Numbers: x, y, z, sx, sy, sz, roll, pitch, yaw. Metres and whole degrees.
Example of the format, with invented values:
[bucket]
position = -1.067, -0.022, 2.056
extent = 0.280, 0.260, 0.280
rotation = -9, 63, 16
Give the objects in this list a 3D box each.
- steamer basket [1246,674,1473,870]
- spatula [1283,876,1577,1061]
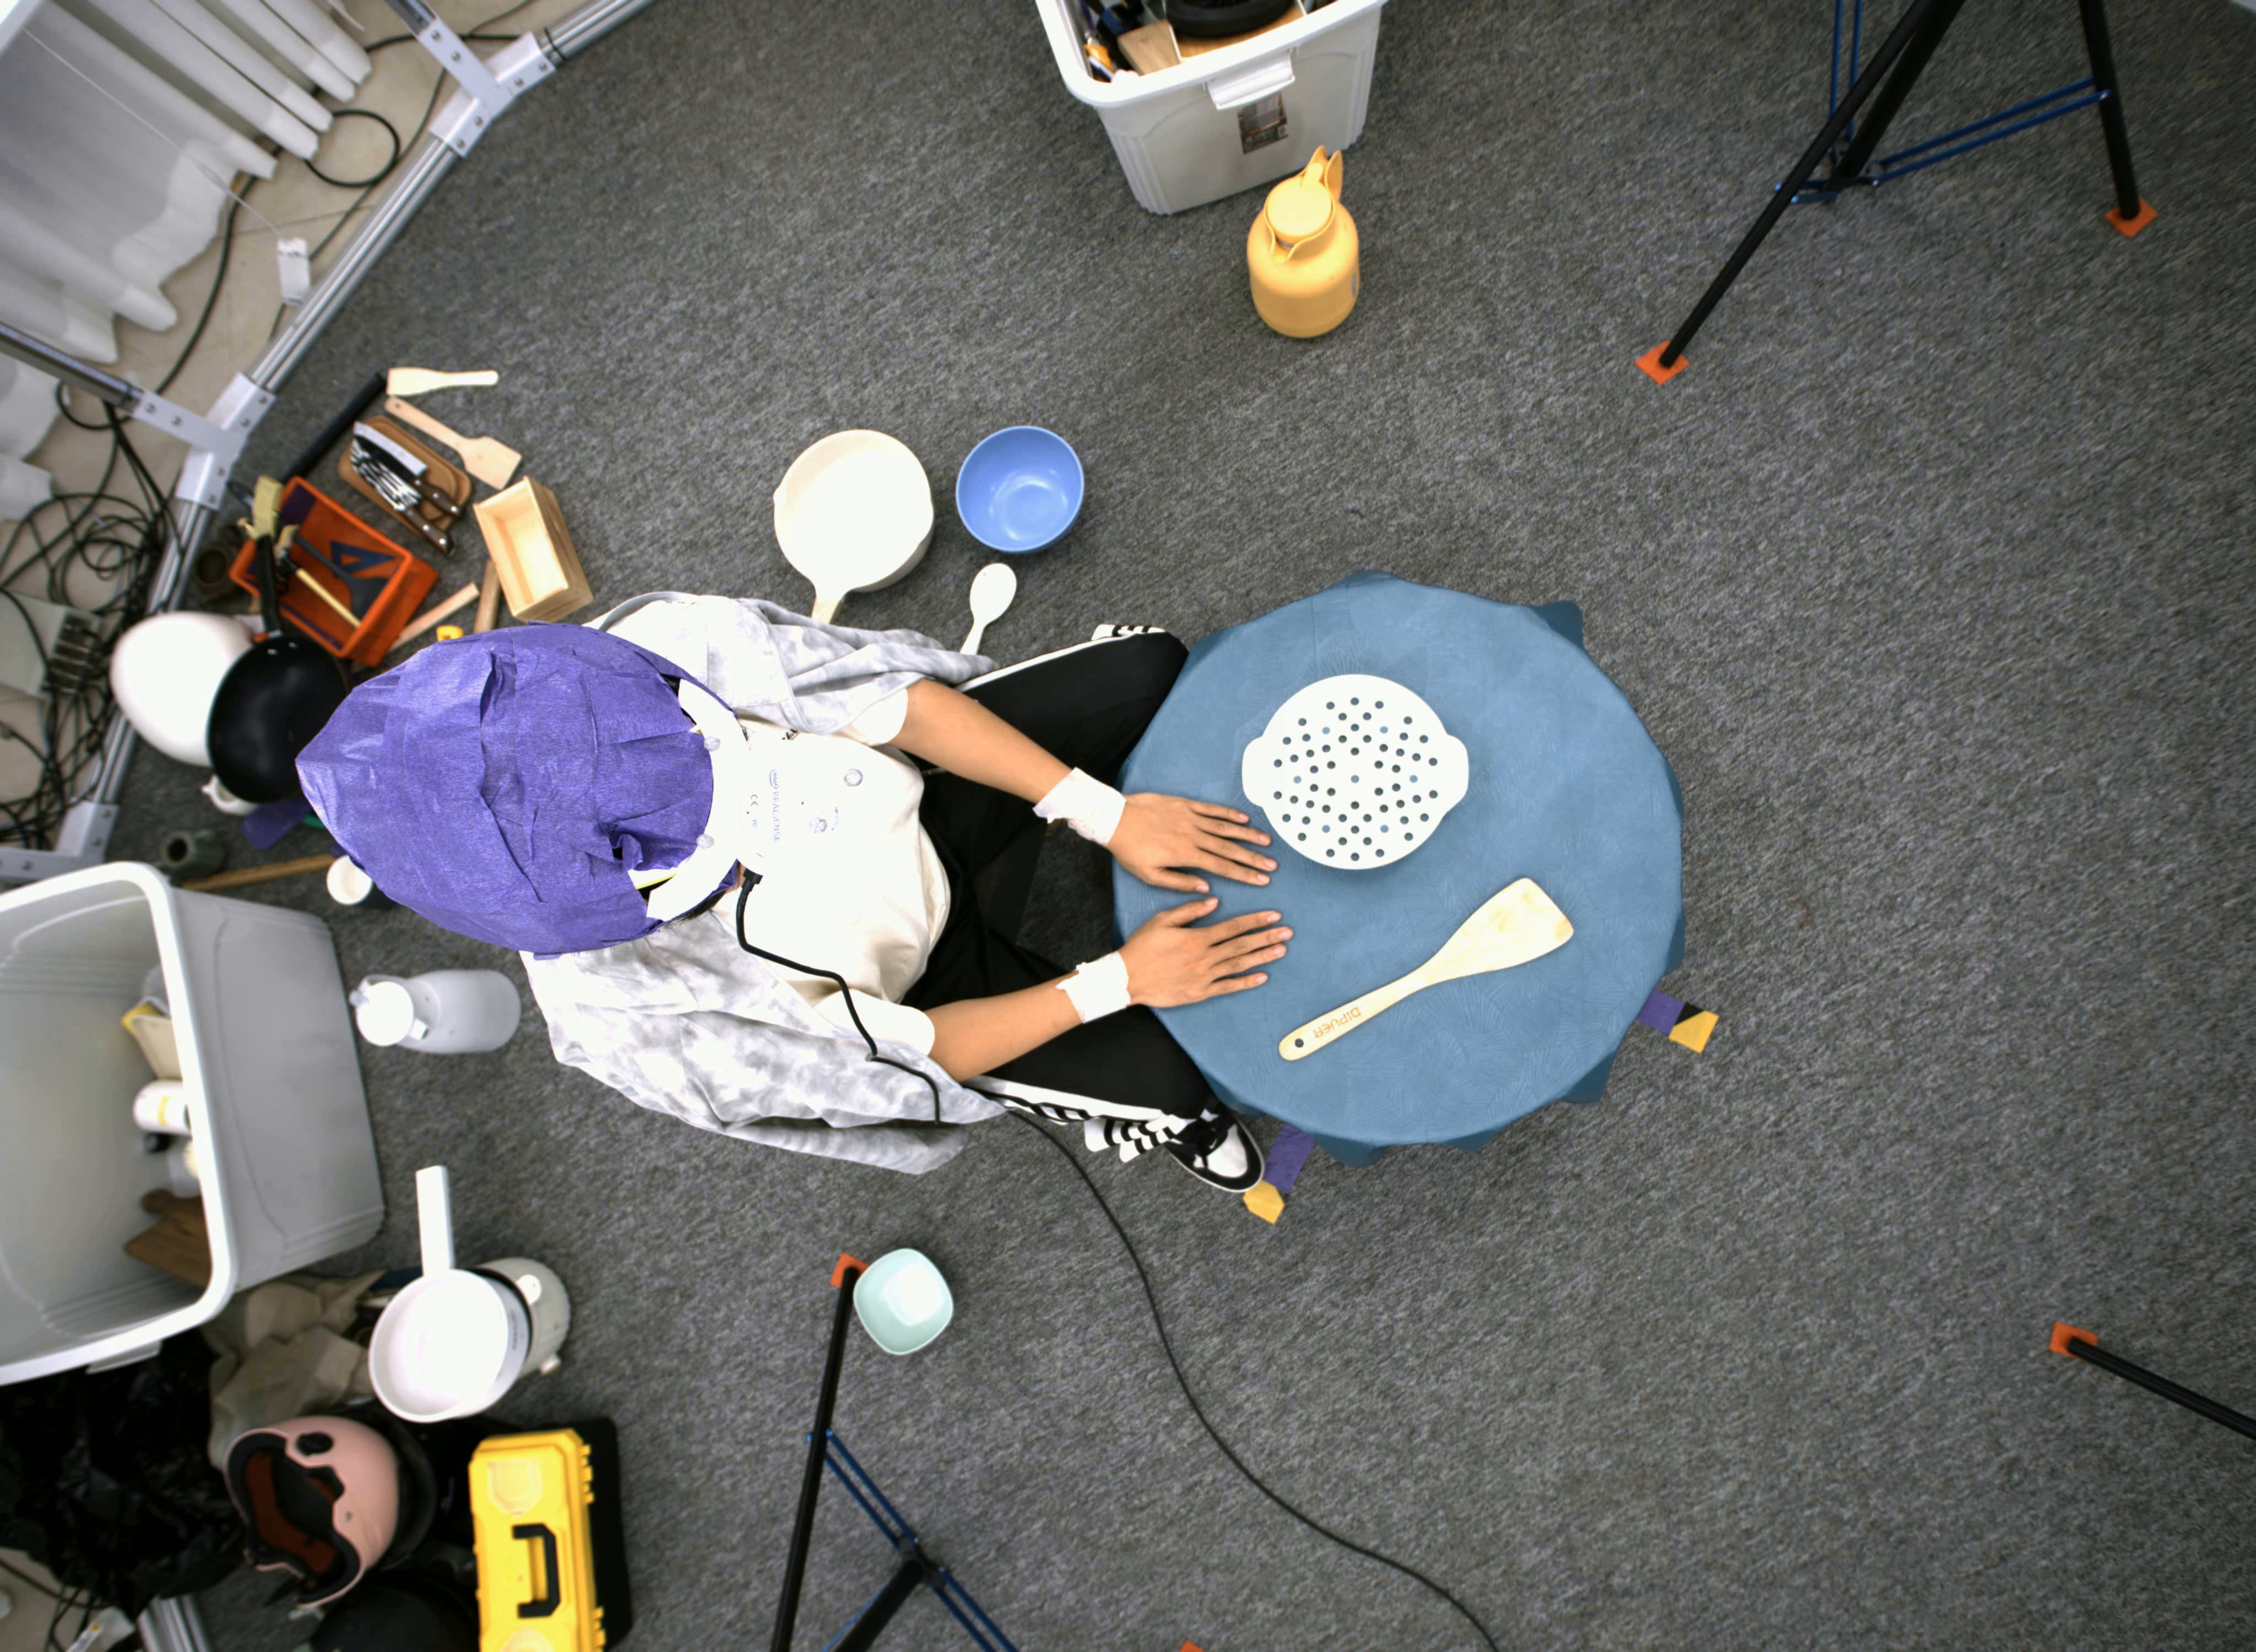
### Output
[steamer basket]
position = 0.241, -0.055, 1.437
extent = 0.231, 0.069, 0.201
rotation = 0, 85, 12
[spatula]
position = 0.304, 0.156, 1.438
extent = 0.329, 0.016, 0.079
rotation = -30, 81, 8
